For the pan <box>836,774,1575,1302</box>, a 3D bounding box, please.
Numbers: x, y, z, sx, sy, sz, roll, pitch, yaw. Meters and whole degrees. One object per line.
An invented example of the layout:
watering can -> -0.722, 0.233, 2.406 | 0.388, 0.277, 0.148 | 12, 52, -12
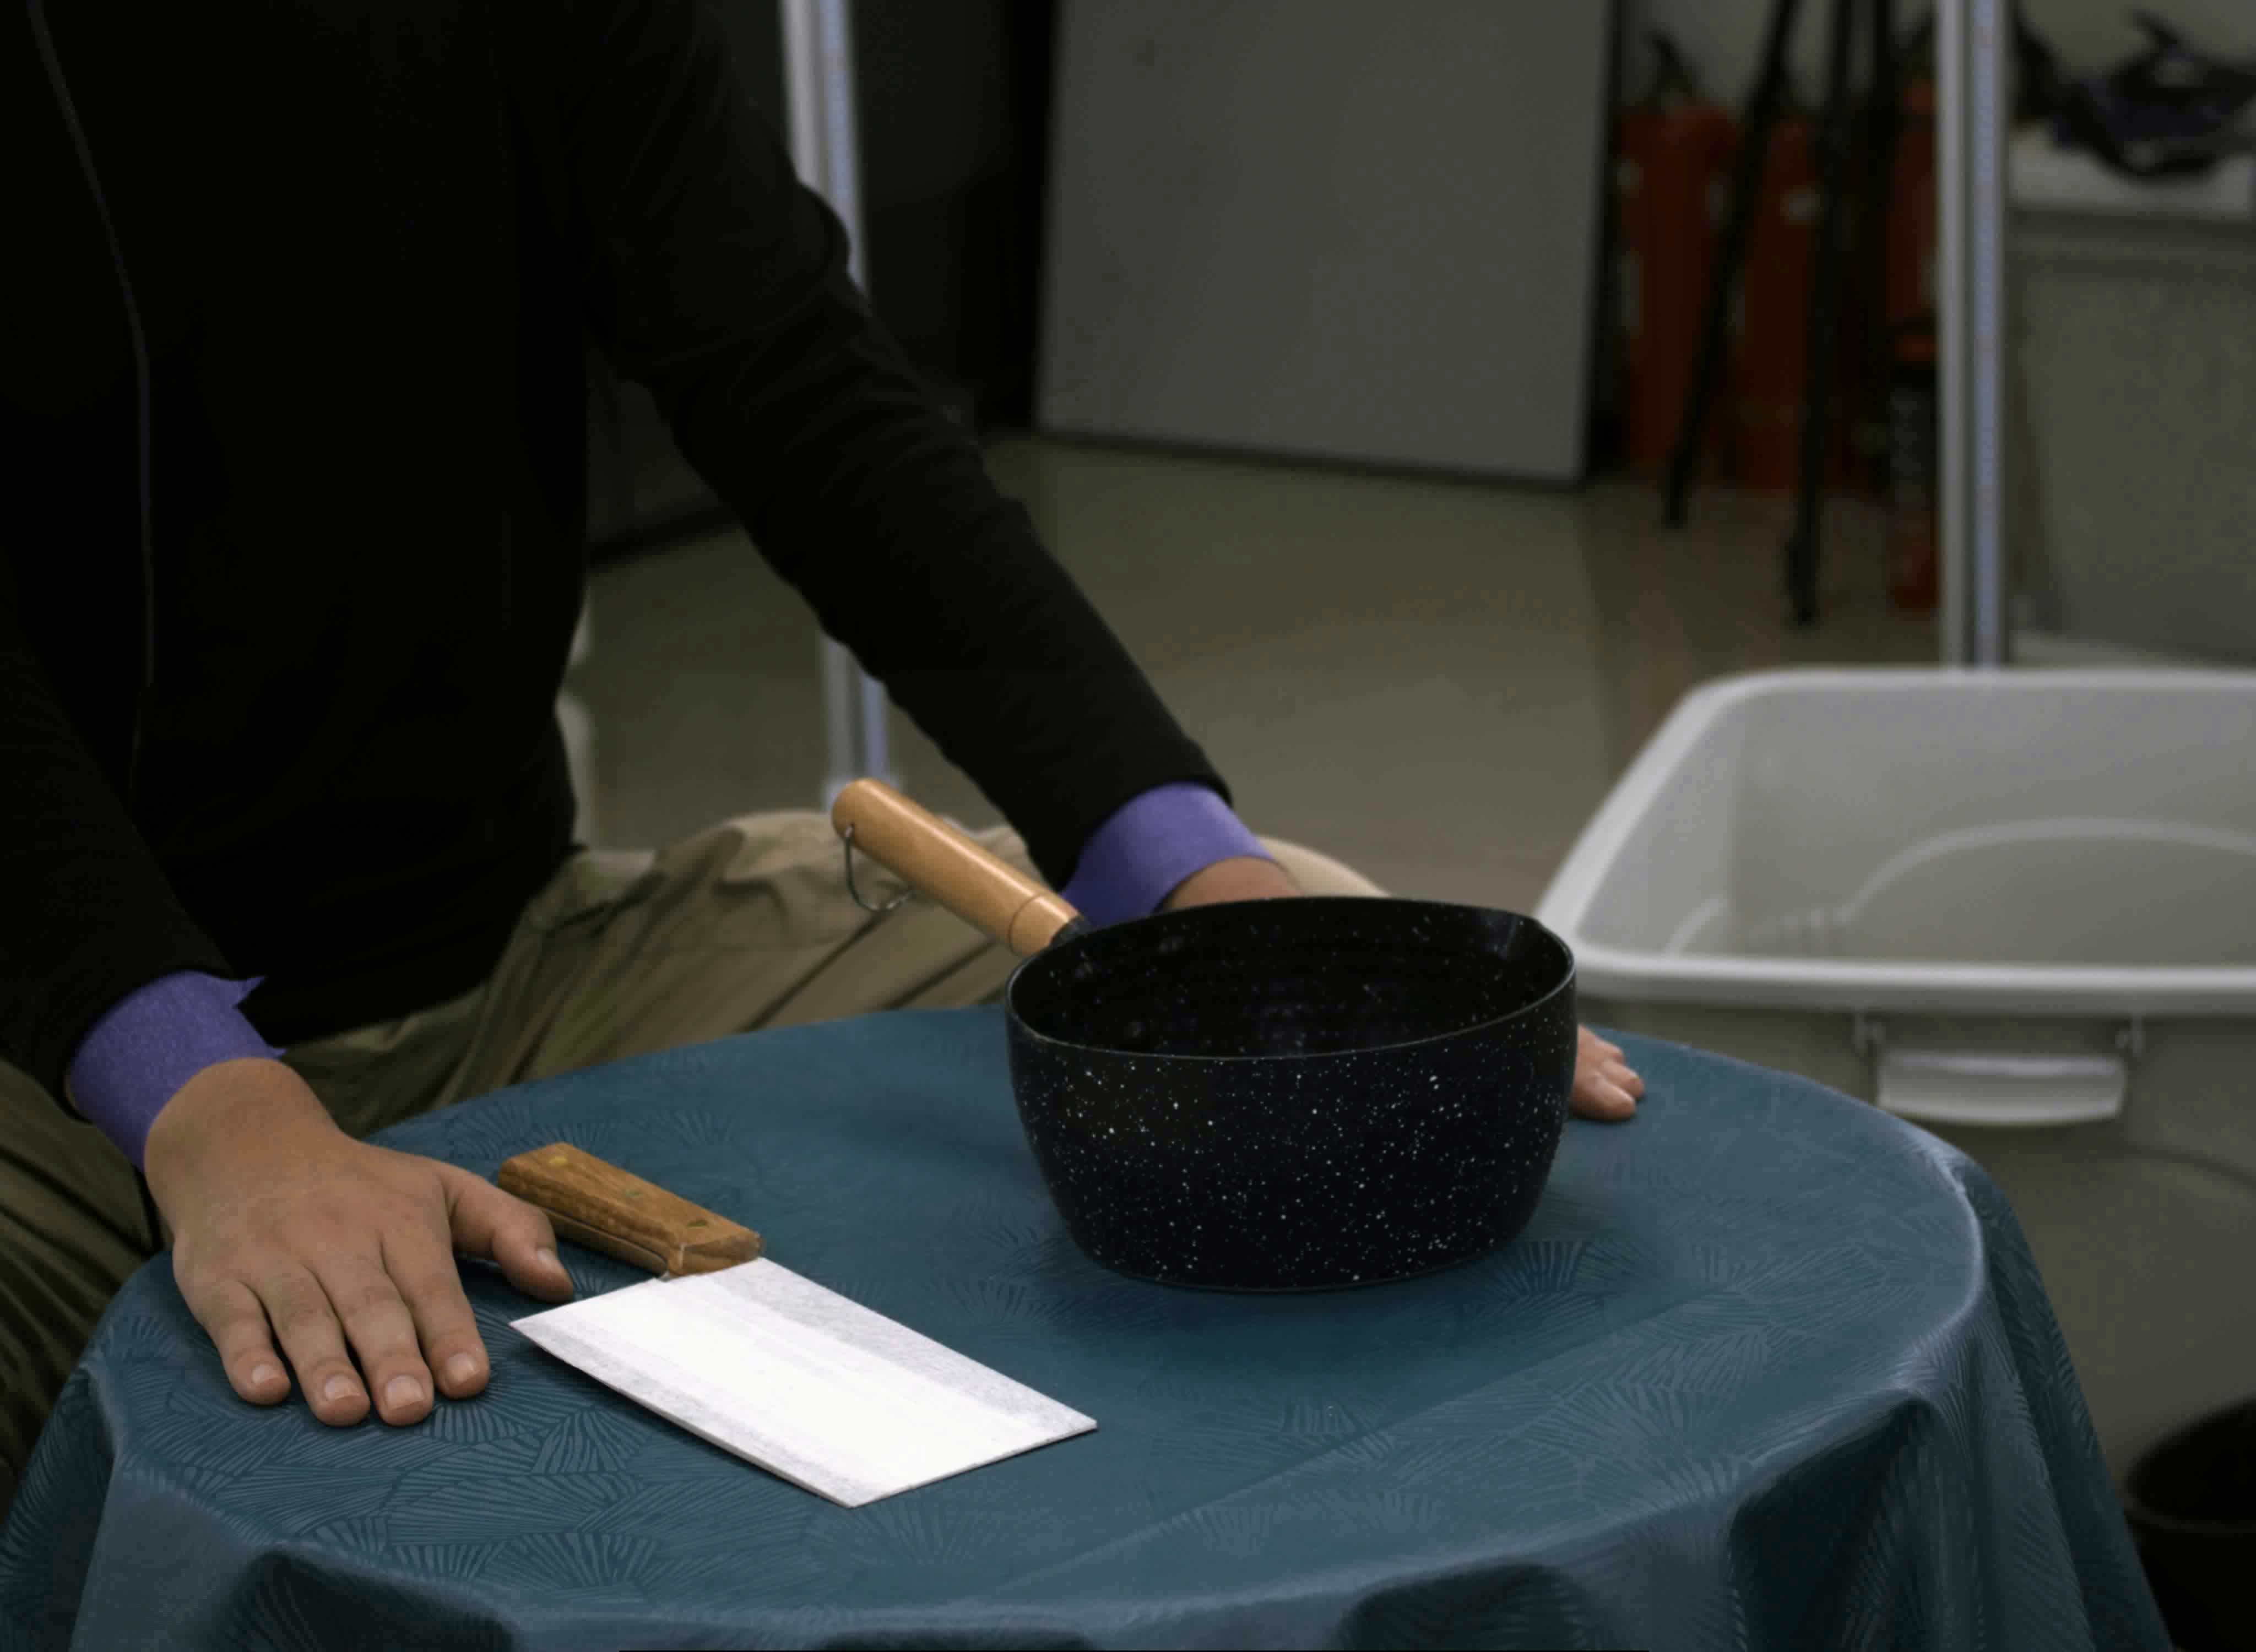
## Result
pan -> 0.004, 0.064, 1.784 | 0.203, 0.109, 0.346 | -14, 18, -34

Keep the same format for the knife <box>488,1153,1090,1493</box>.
knife -> -0.131, 0.153, 1.656 | 0.091, 0.021, 0.309 | -15, 19, -33
